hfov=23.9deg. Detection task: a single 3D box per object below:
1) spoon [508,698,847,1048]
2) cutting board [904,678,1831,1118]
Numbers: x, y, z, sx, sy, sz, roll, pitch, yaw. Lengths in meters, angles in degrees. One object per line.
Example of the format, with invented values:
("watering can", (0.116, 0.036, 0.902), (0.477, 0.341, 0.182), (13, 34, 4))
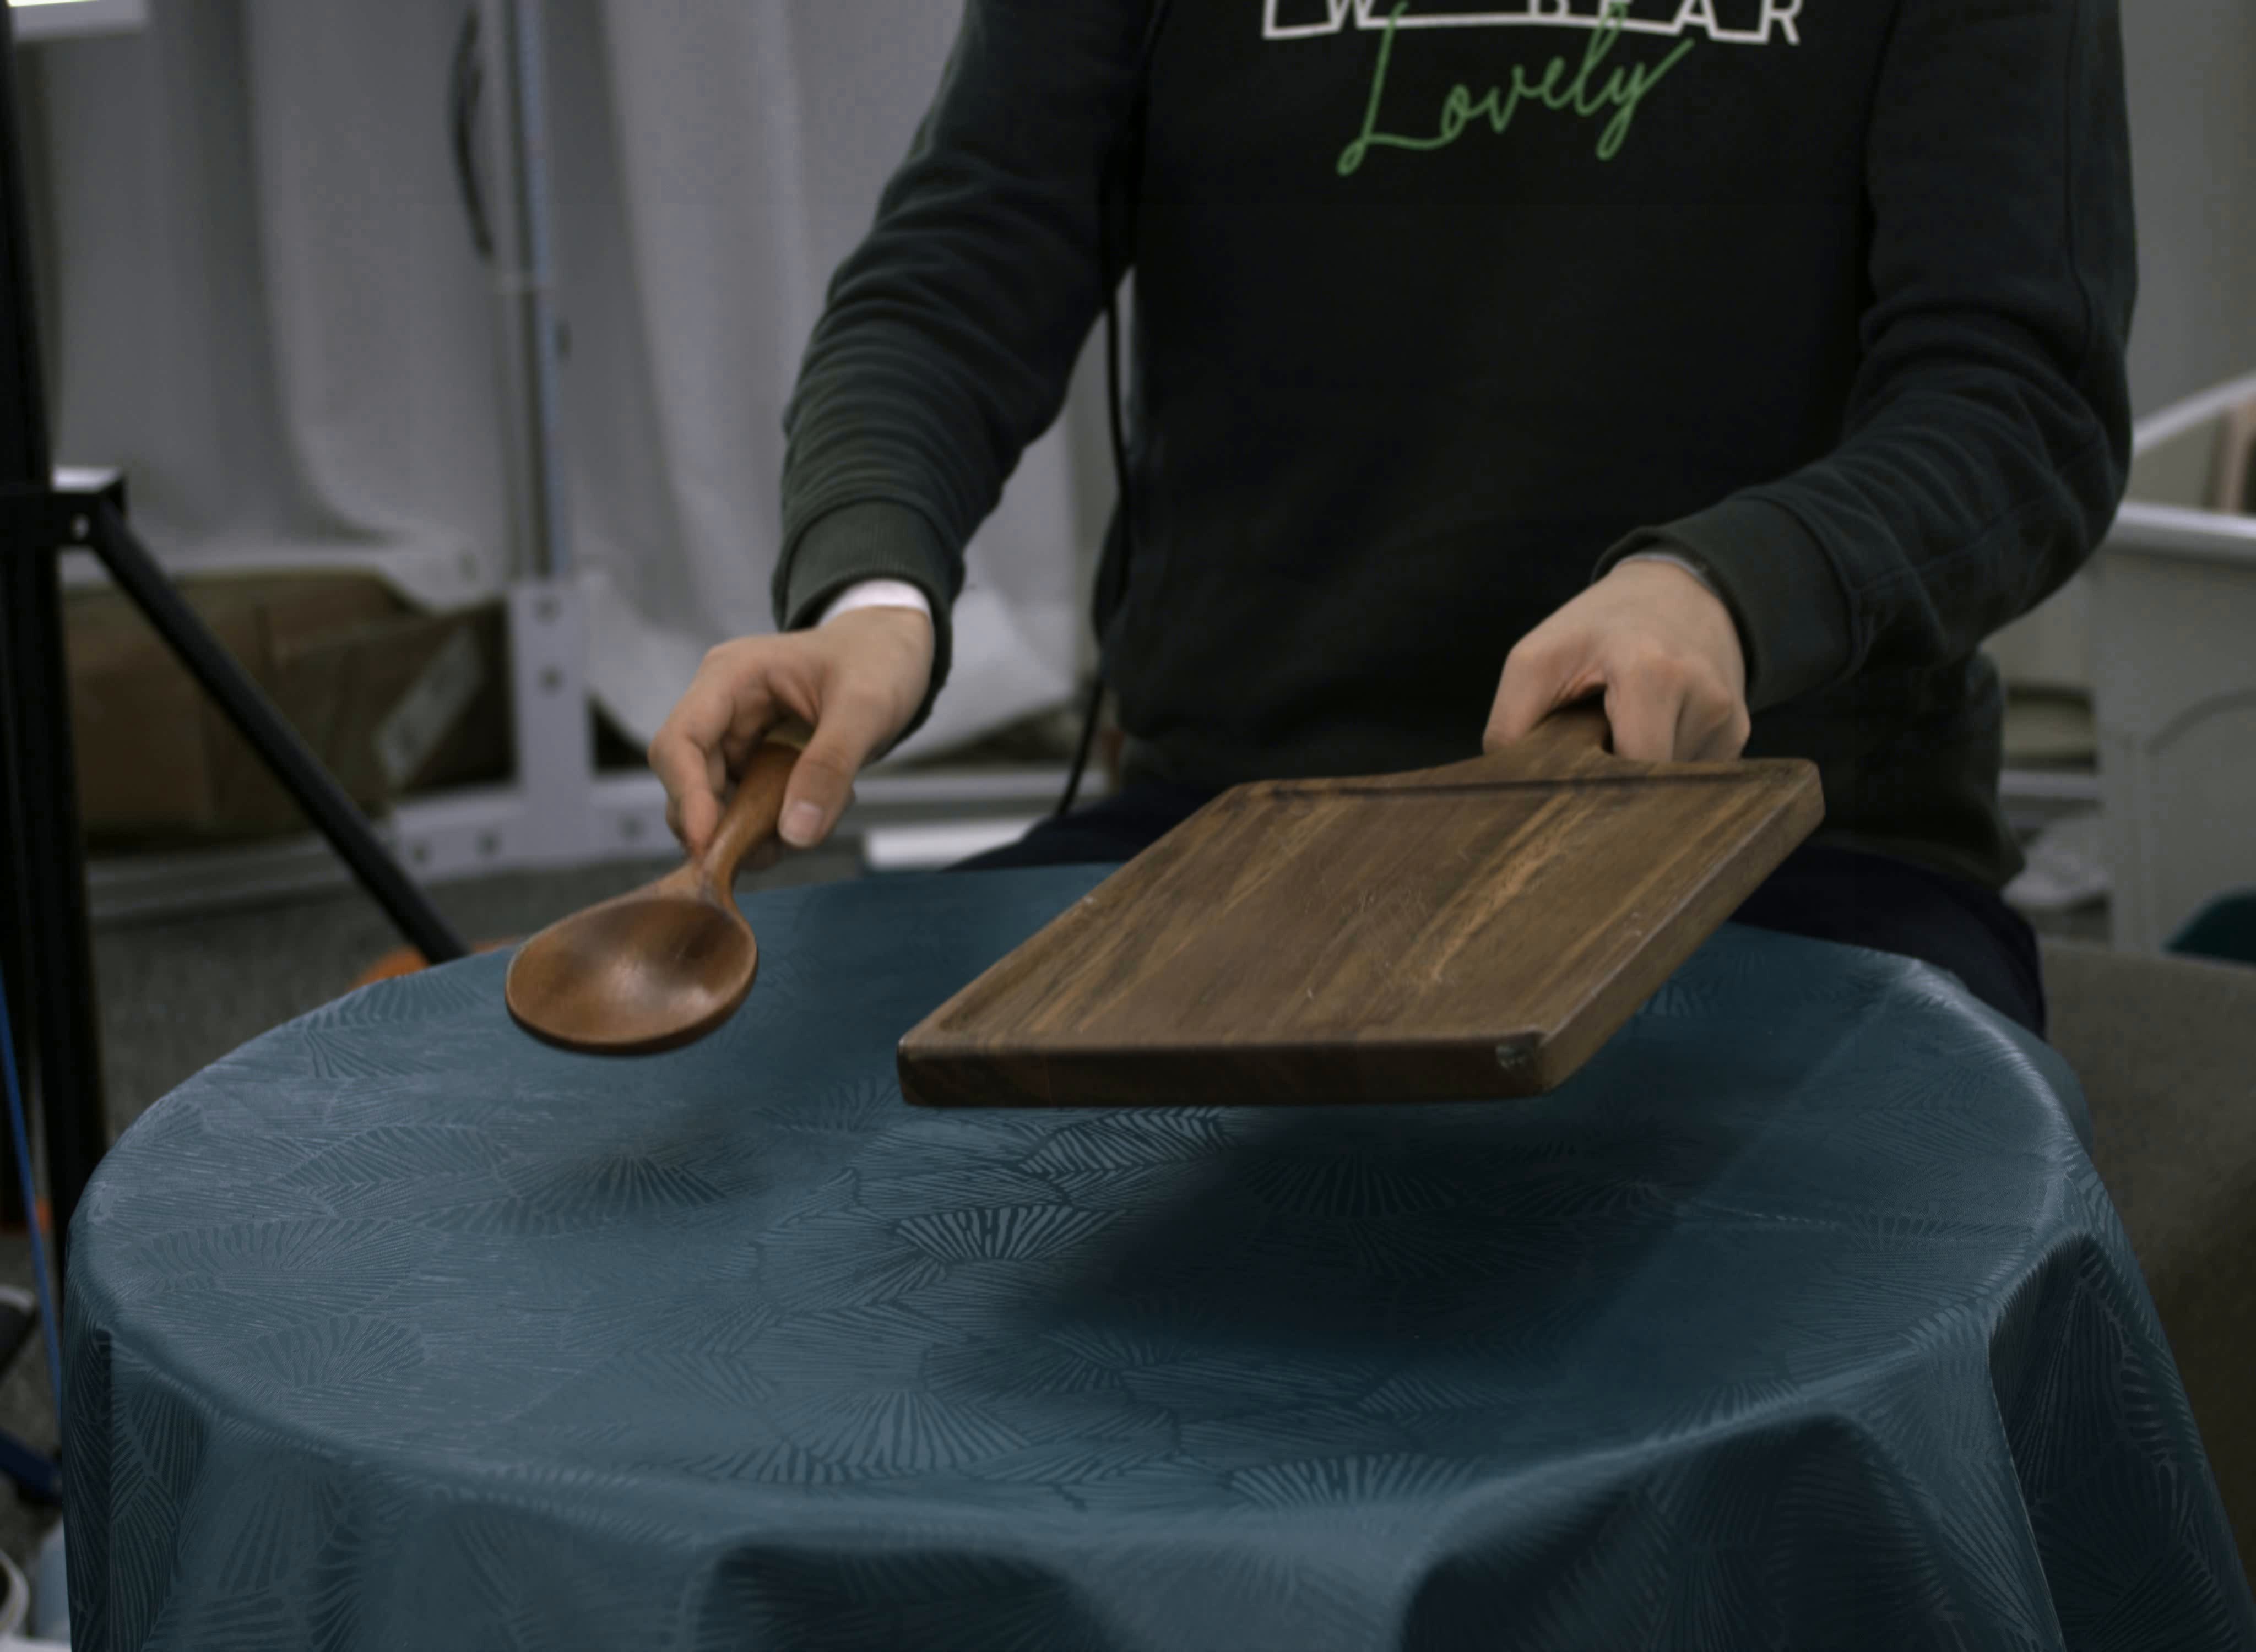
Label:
("spoon", (-0.129, 0.015, 1.651), (0.076, 0.017, 0.215), (3, 29, 17))
("cutting board", (0.093, 0.014, 1.555), (0.204, 0.023, 0.347), (-4, 16, 27))
